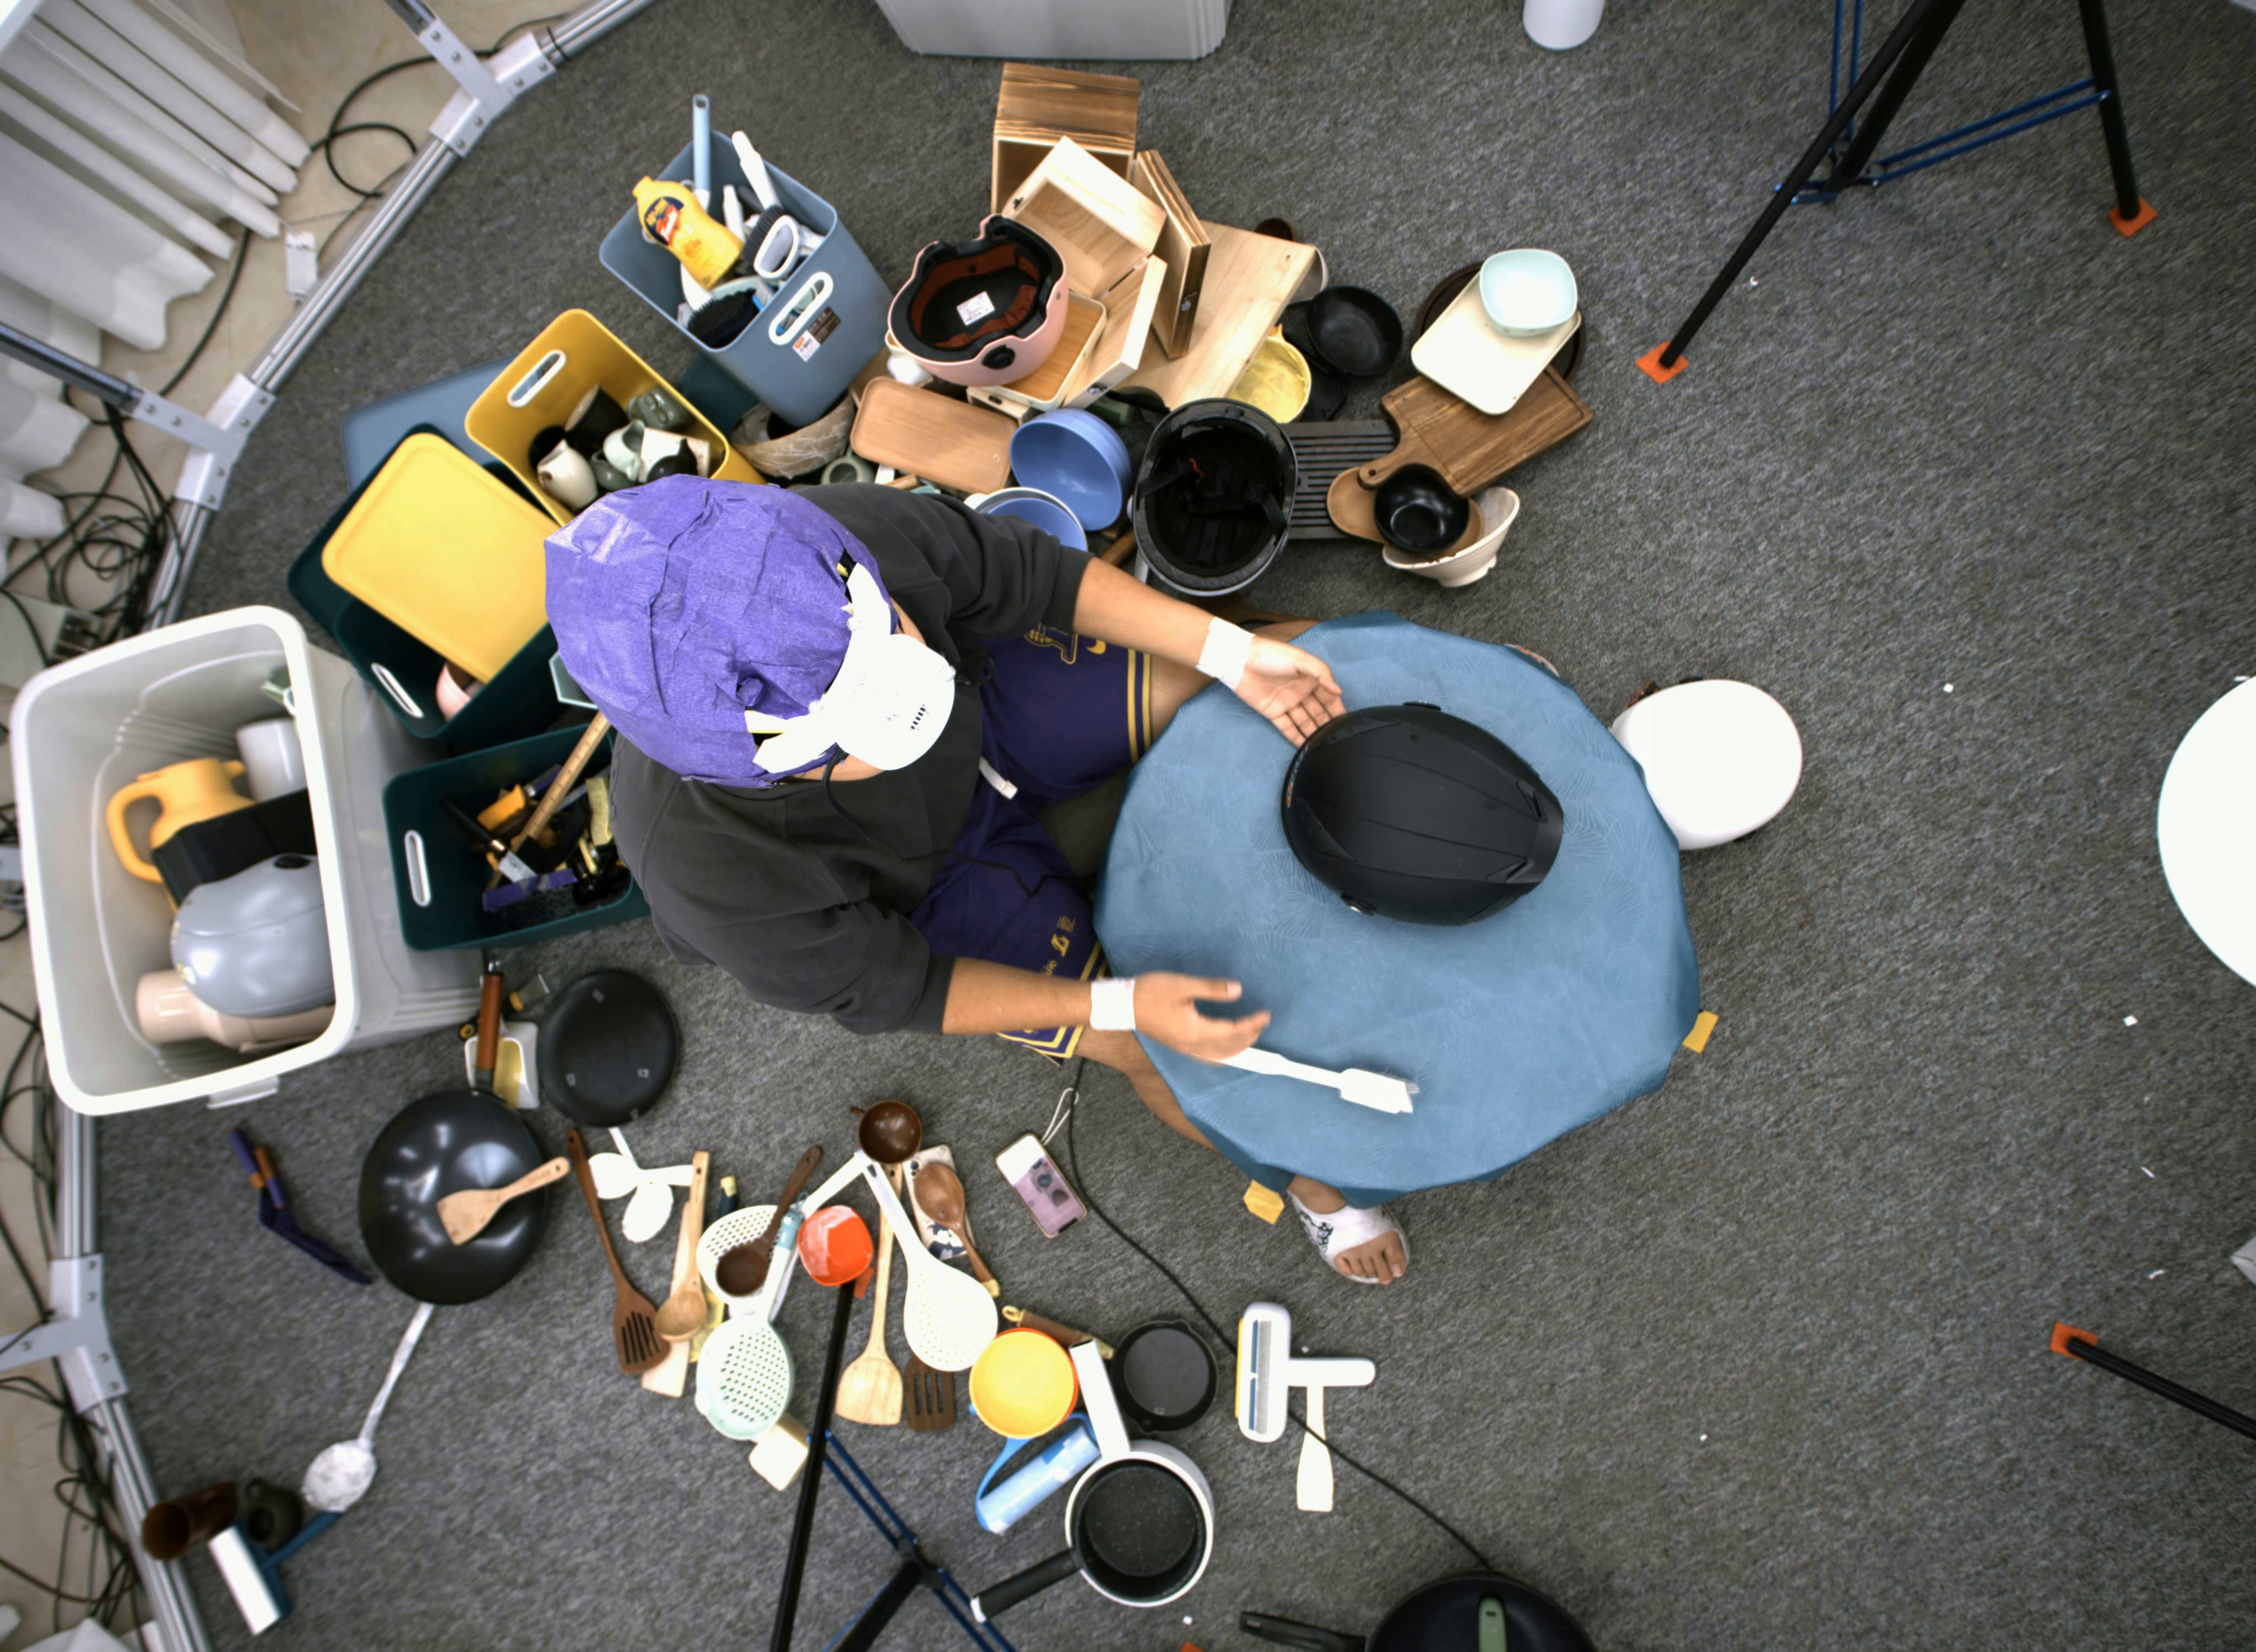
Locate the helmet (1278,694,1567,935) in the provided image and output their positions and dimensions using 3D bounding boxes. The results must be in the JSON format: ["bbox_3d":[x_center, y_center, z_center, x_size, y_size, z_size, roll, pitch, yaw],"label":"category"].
[{"bbox_3d":[0.292,-0.020,1.380,0.277,0.172,0.246,20,89,8],"label":"helmet"}]

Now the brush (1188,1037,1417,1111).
[{"bbox_3d":[0.181,0.256,1.454,0.244,0.050,0.034,9,87,24],"label":"brush"}]
